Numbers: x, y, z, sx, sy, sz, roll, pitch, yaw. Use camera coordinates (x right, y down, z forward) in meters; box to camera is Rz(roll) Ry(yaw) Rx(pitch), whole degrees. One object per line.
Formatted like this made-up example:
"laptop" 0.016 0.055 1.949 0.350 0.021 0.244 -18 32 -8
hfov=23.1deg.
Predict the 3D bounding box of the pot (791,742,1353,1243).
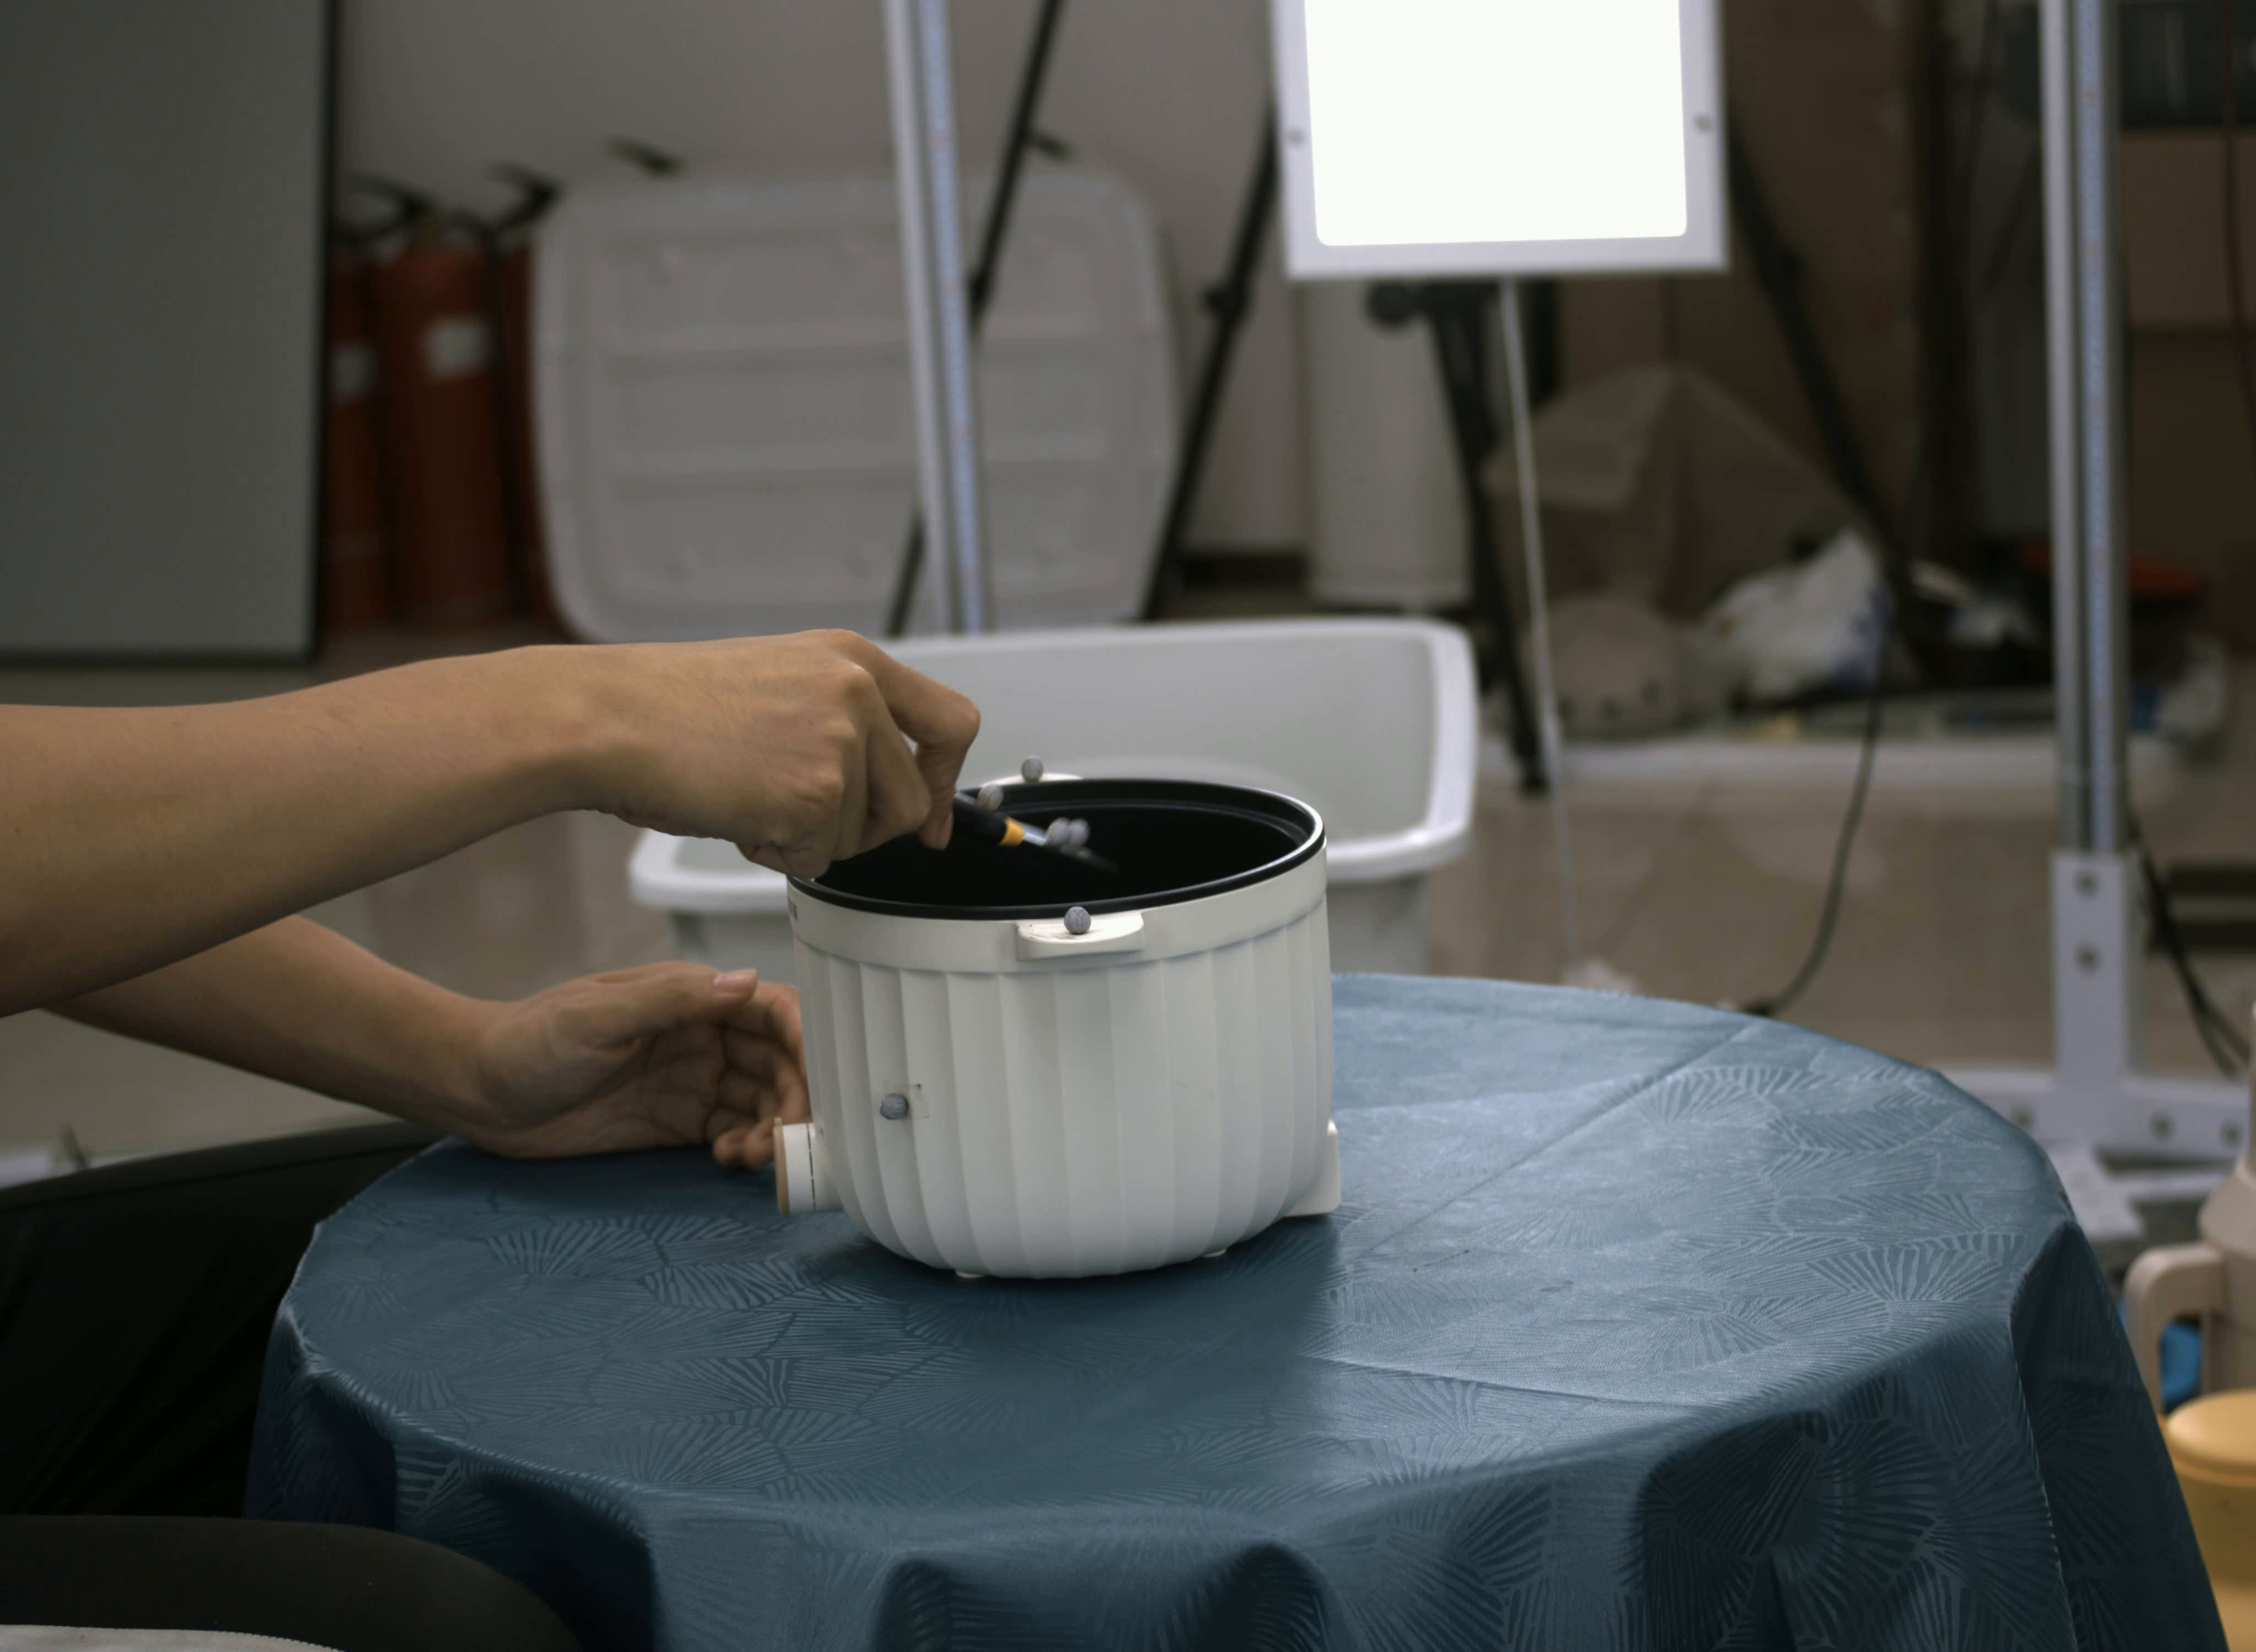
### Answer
"pot" -0.019 0.059 1.861 0.189 0.143 0.241 -2 12 -5

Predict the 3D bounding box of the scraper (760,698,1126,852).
"scraper" -0.060 -0.015 1.799 0.039 0.015 0.167 32 8 39
